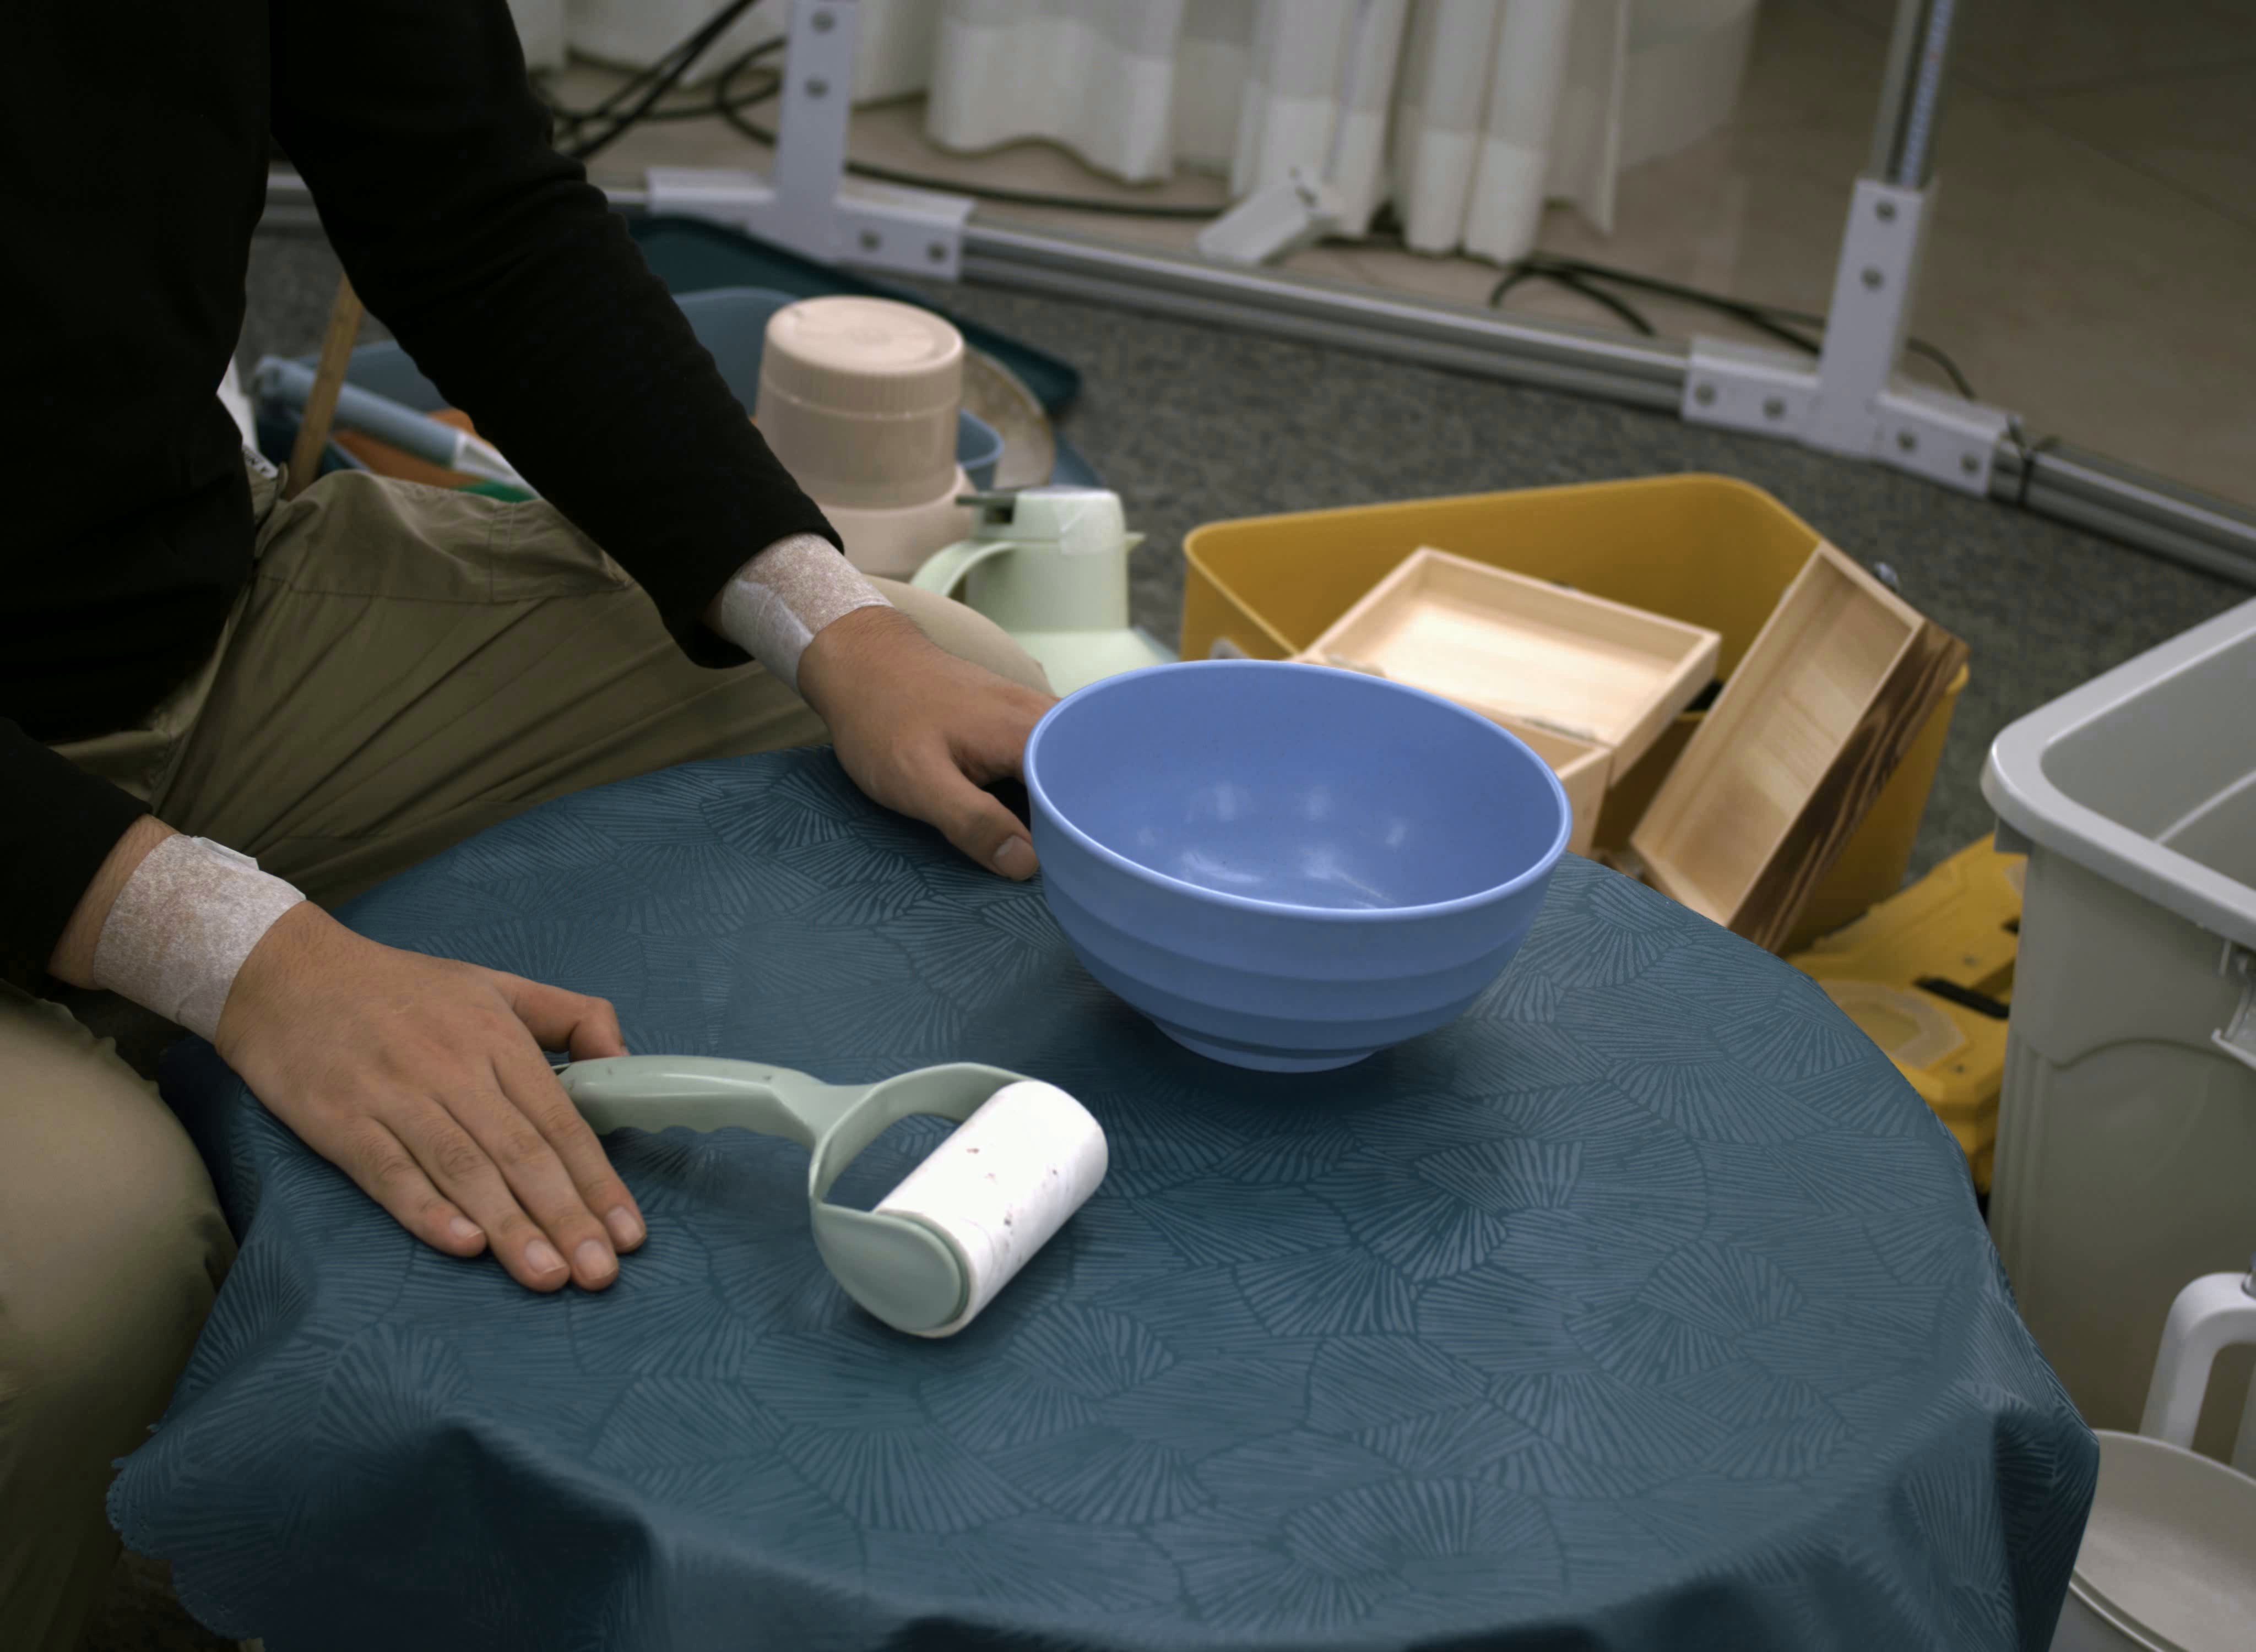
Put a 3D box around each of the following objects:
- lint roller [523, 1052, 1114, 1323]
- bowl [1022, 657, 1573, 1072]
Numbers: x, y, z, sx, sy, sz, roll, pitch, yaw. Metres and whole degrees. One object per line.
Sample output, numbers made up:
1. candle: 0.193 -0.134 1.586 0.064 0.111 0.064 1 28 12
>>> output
1. lint roller: -0.111 0.103 1.770 0.198 0.048 0.116 15 29 21
2. bowl: 0.056 0.024 1.903 0.196 0.095 0.198 4 28 -3
